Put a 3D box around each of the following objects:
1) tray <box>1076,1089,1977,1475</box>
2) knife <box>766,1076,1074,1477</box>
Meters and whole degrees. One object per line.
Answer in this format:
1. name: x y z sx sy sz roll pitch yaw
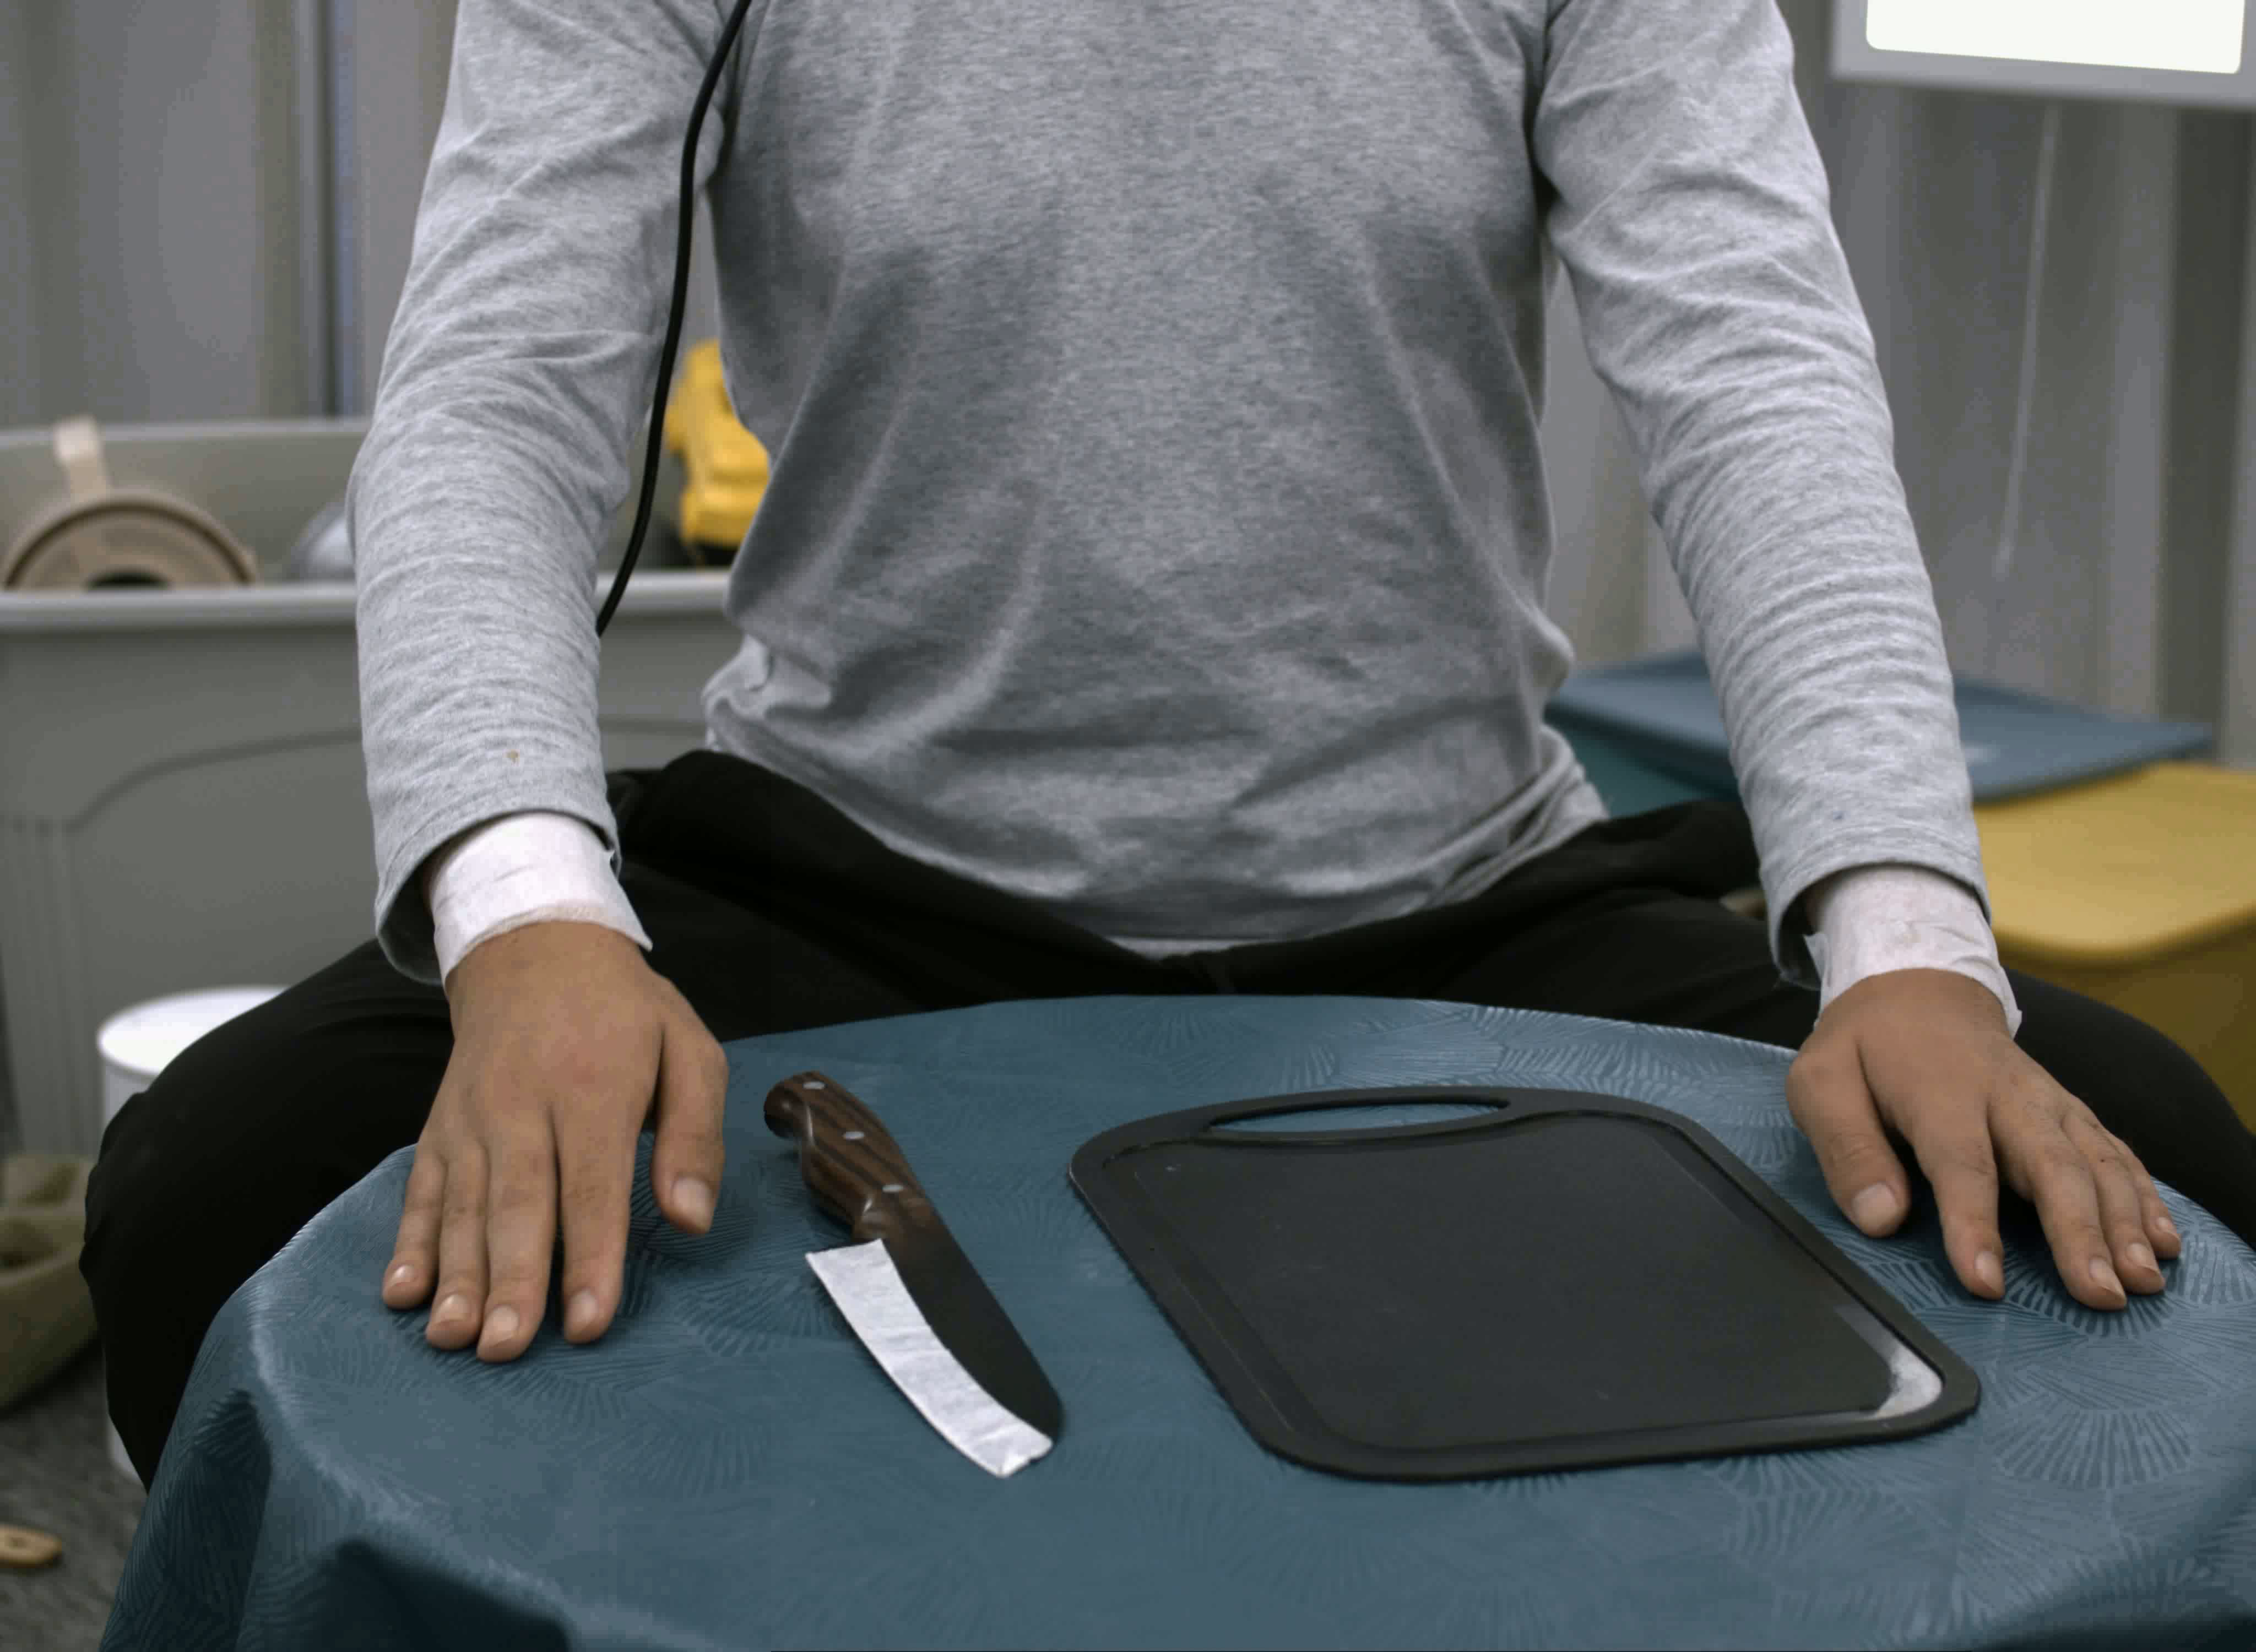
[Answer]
1. tray: 0.107 0.127 1.564 0.211 0.010 0.322 -3 15 -13
2. knife: -0.066 0.130 1.532 0.050 0.020 0.286 -9 20 -13
